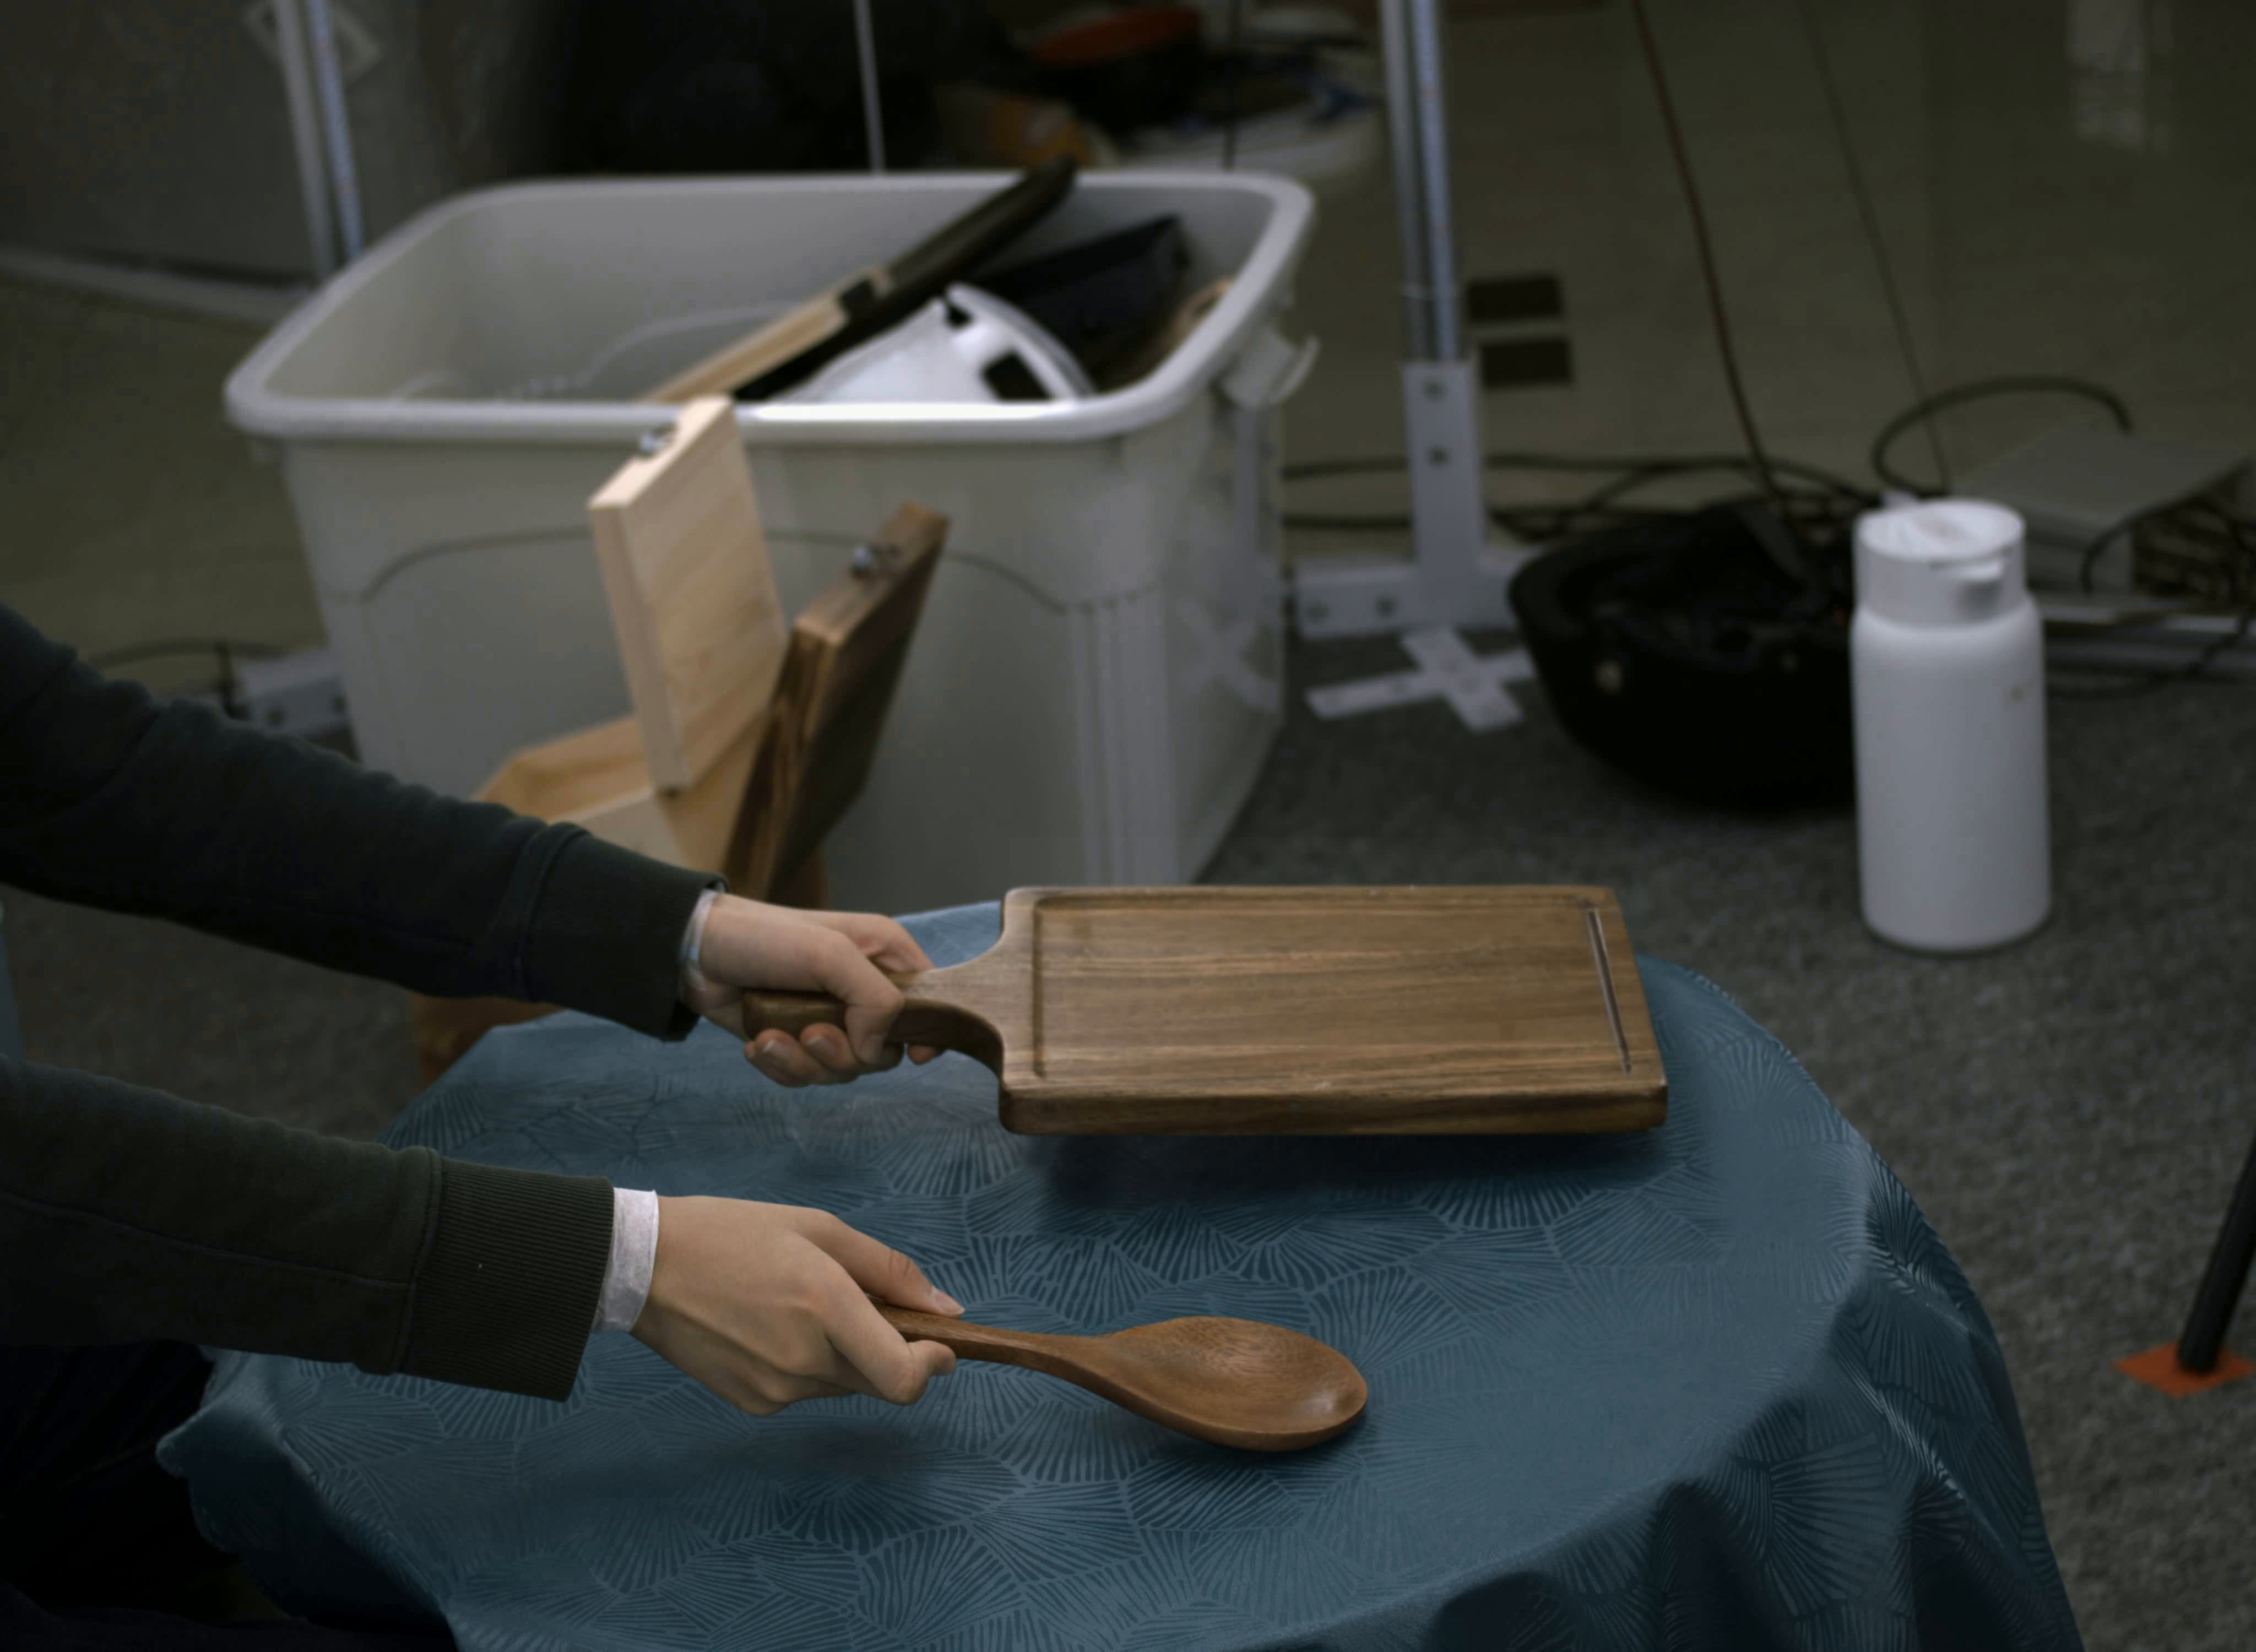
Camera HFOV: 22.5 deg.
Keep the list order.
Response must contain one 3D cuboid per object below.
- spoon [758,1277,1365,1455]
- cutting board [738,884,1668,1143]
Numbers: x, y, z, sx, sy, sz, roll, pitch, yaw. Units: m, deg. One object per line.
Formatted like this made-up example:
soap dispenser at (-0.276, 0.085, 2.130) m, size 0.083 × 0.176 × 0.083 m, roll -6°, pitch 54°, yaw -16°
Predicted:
spoon at (-0.024, 0.186, 1.990) m, size 0.215 × 0.017 × 0.074 m, roll 11°, pitch 29°, yaw 1°
cutting board at (0.025, 0.071, 2.199) m, size 0.351 × 0.023 × 0.198 m, roll 0°, pitch 24°, yaw -1°
